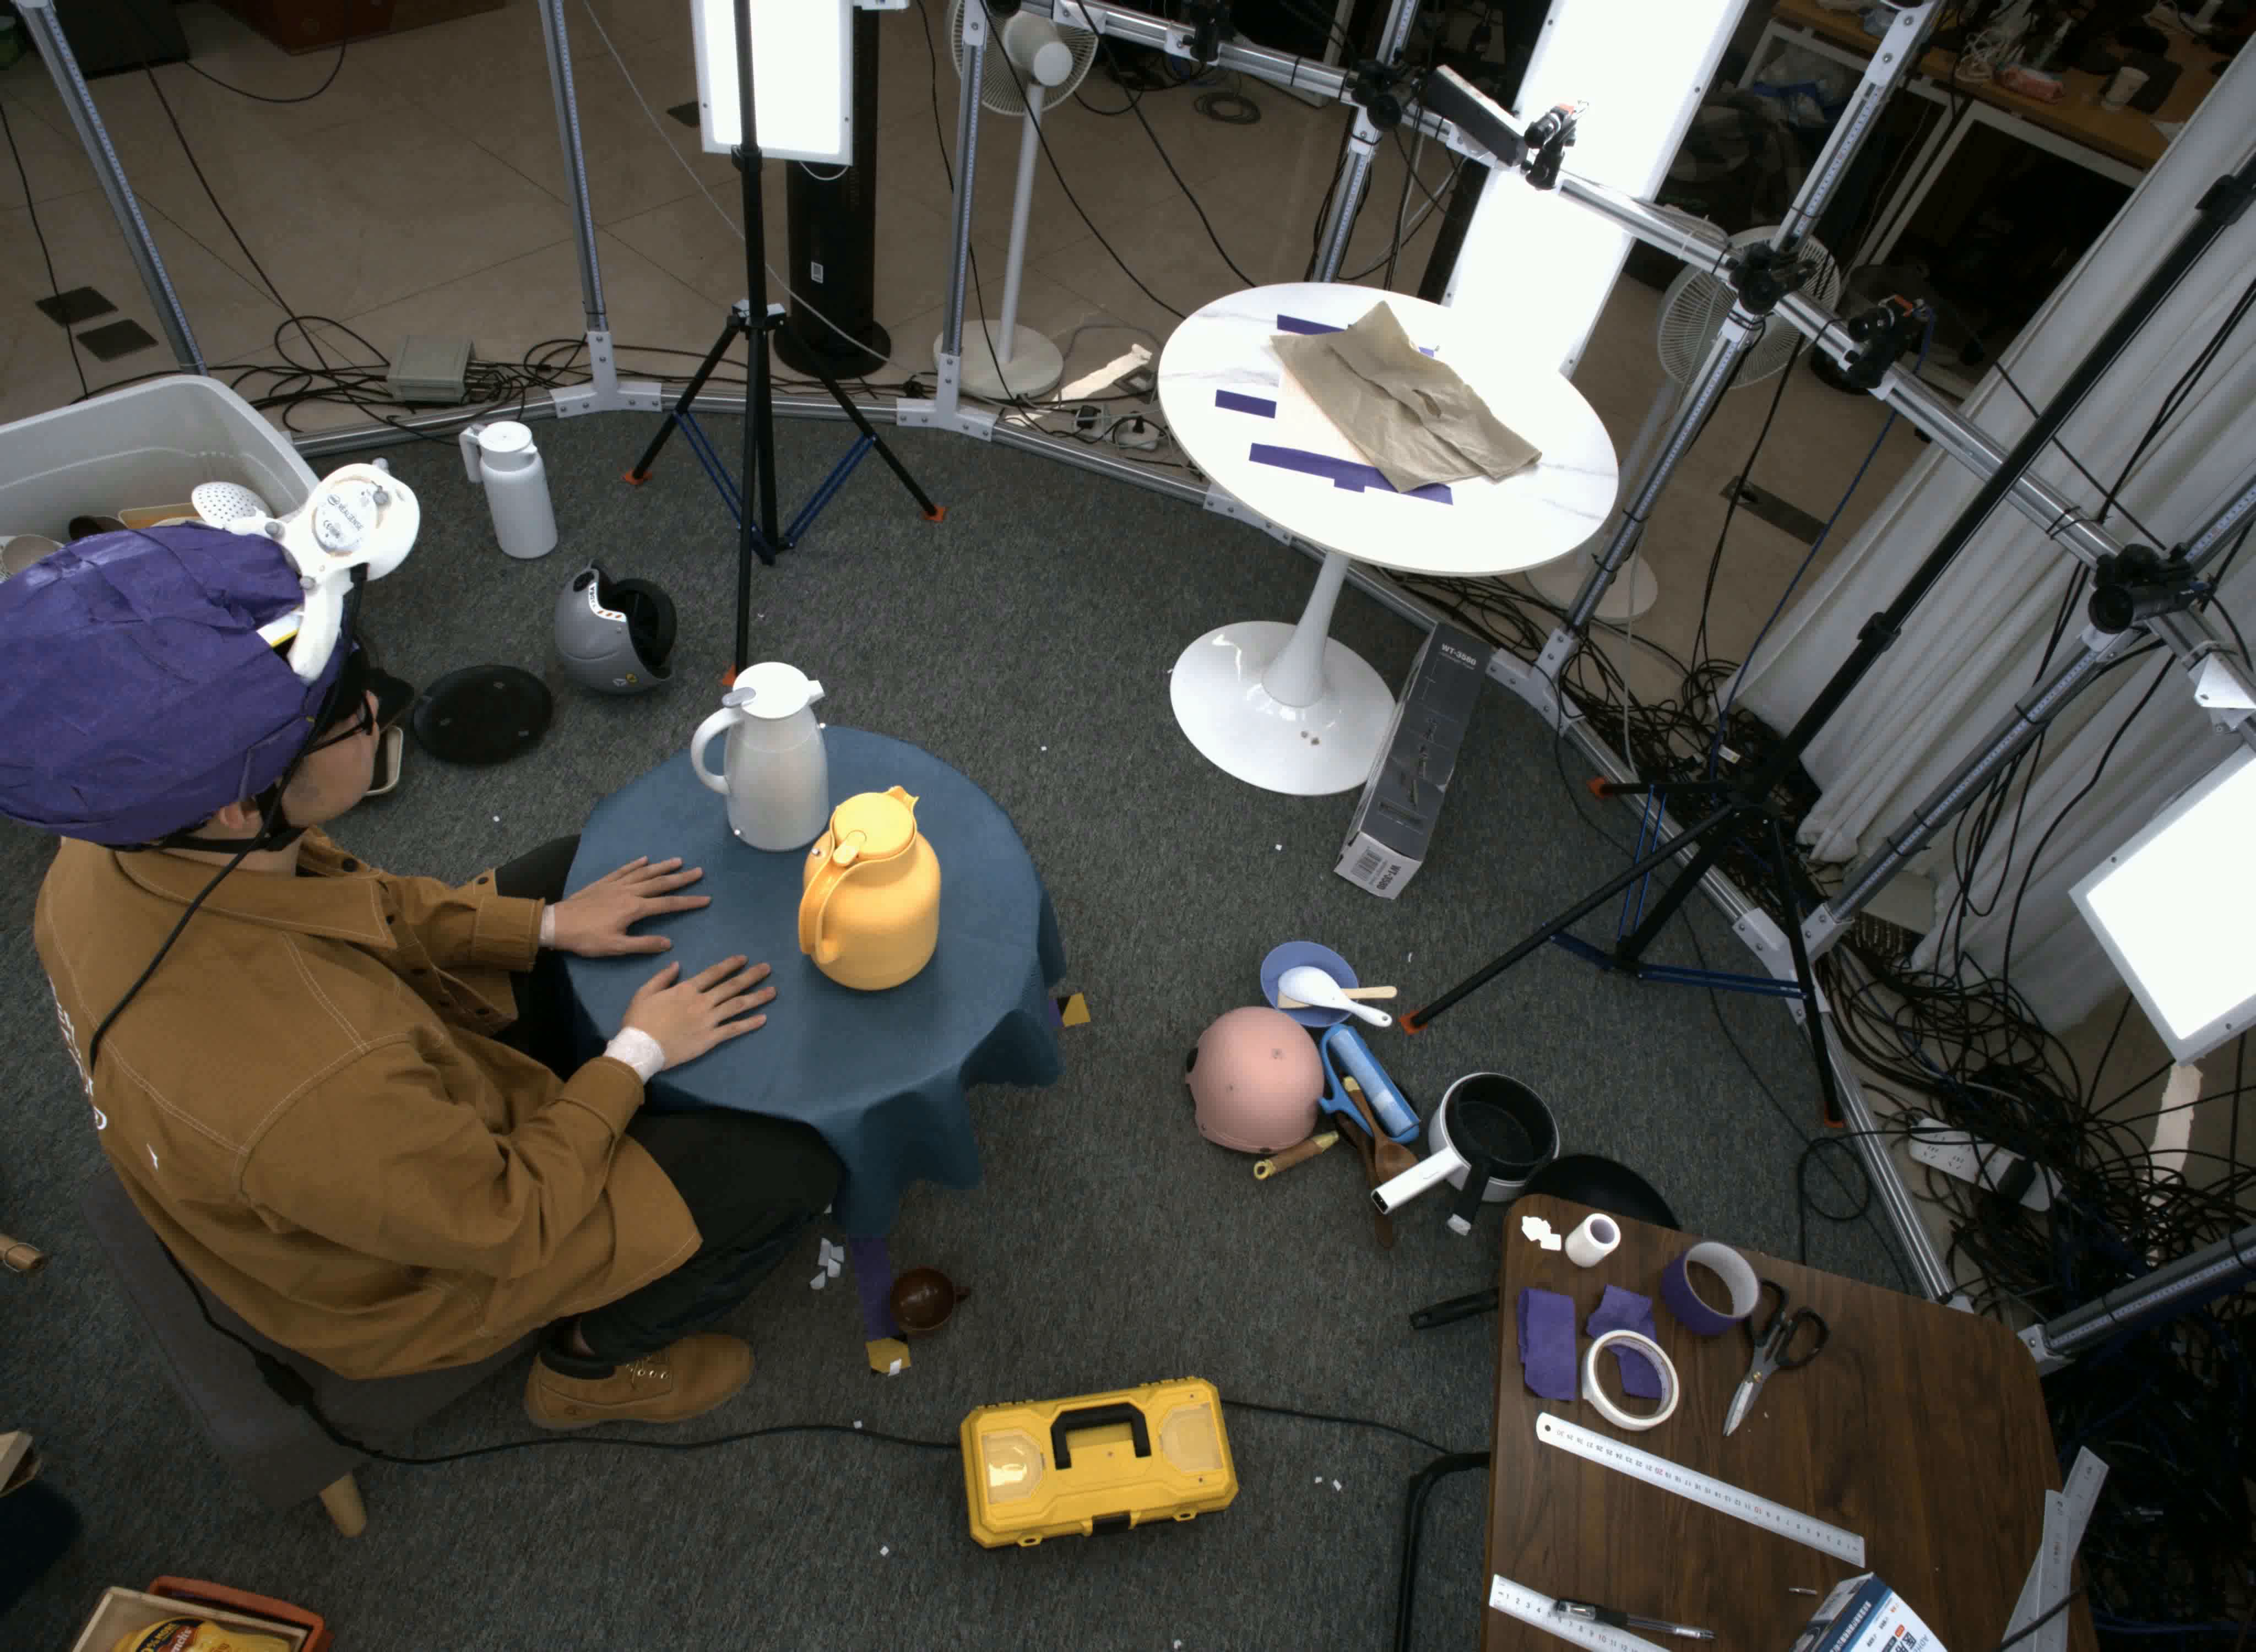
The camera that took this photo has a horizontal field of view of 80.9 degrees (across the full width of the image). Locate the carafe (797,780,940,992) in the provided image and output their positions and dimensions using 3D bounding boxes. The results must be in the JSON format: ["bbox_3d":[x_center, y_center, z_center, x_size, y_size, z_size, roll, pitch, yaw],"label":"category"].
[{"bbox_3d":[-0.314,0.078,1.523,0.160,0.266,0.202,29,51,13],"label":"carafe"}]

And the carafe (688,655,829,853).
[{"bbox_3d":[-0.462,-0.090,1.617,0.168,0.254,0.129,-19,58,-24],"label":"carafe"}]
